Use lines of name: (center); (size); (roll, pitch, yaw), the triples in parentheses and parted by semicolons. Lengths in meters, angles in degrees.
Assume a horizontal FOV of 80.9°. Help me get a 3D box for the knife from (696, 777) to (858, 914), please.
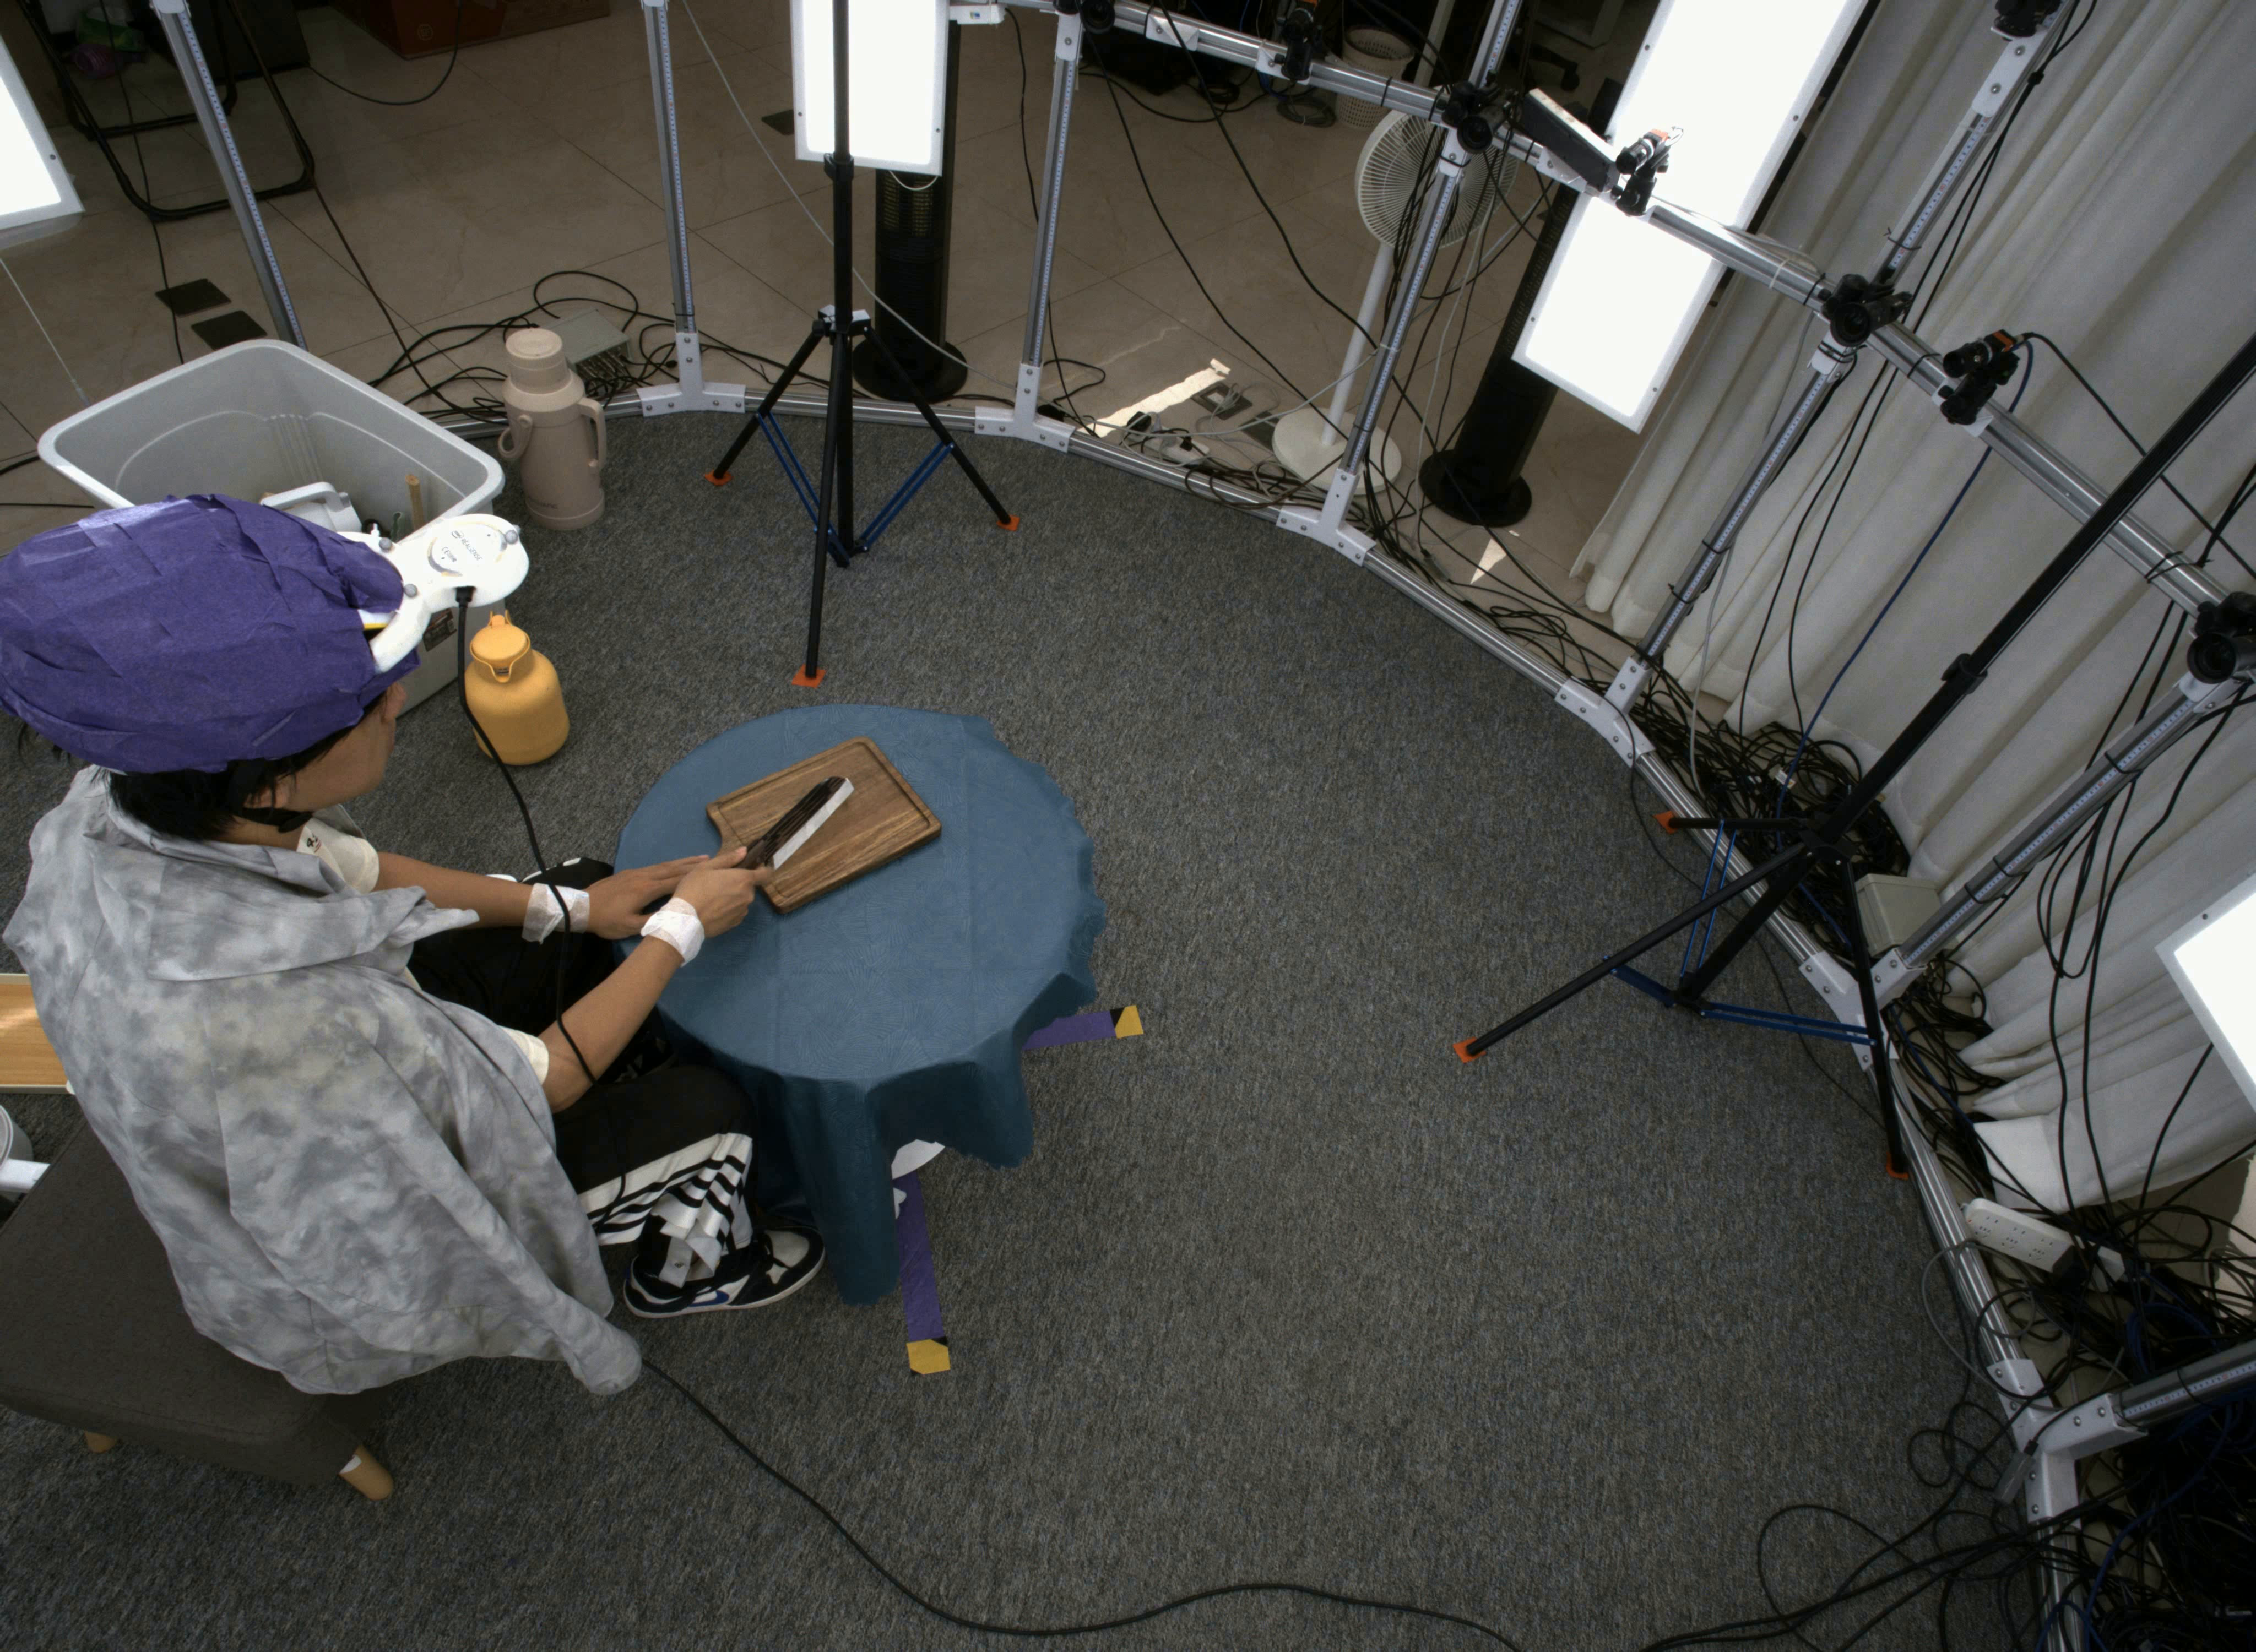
knife: (-0.436, 0.024, 1.638); (0.023, 0.070, 0.298); (22, 48, 19)

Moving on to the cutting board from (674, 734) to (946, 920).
cutting board: (-0.435, 0.015, 1.703); (0.353, 0.023, 0.196); (-30, 67, -29)
